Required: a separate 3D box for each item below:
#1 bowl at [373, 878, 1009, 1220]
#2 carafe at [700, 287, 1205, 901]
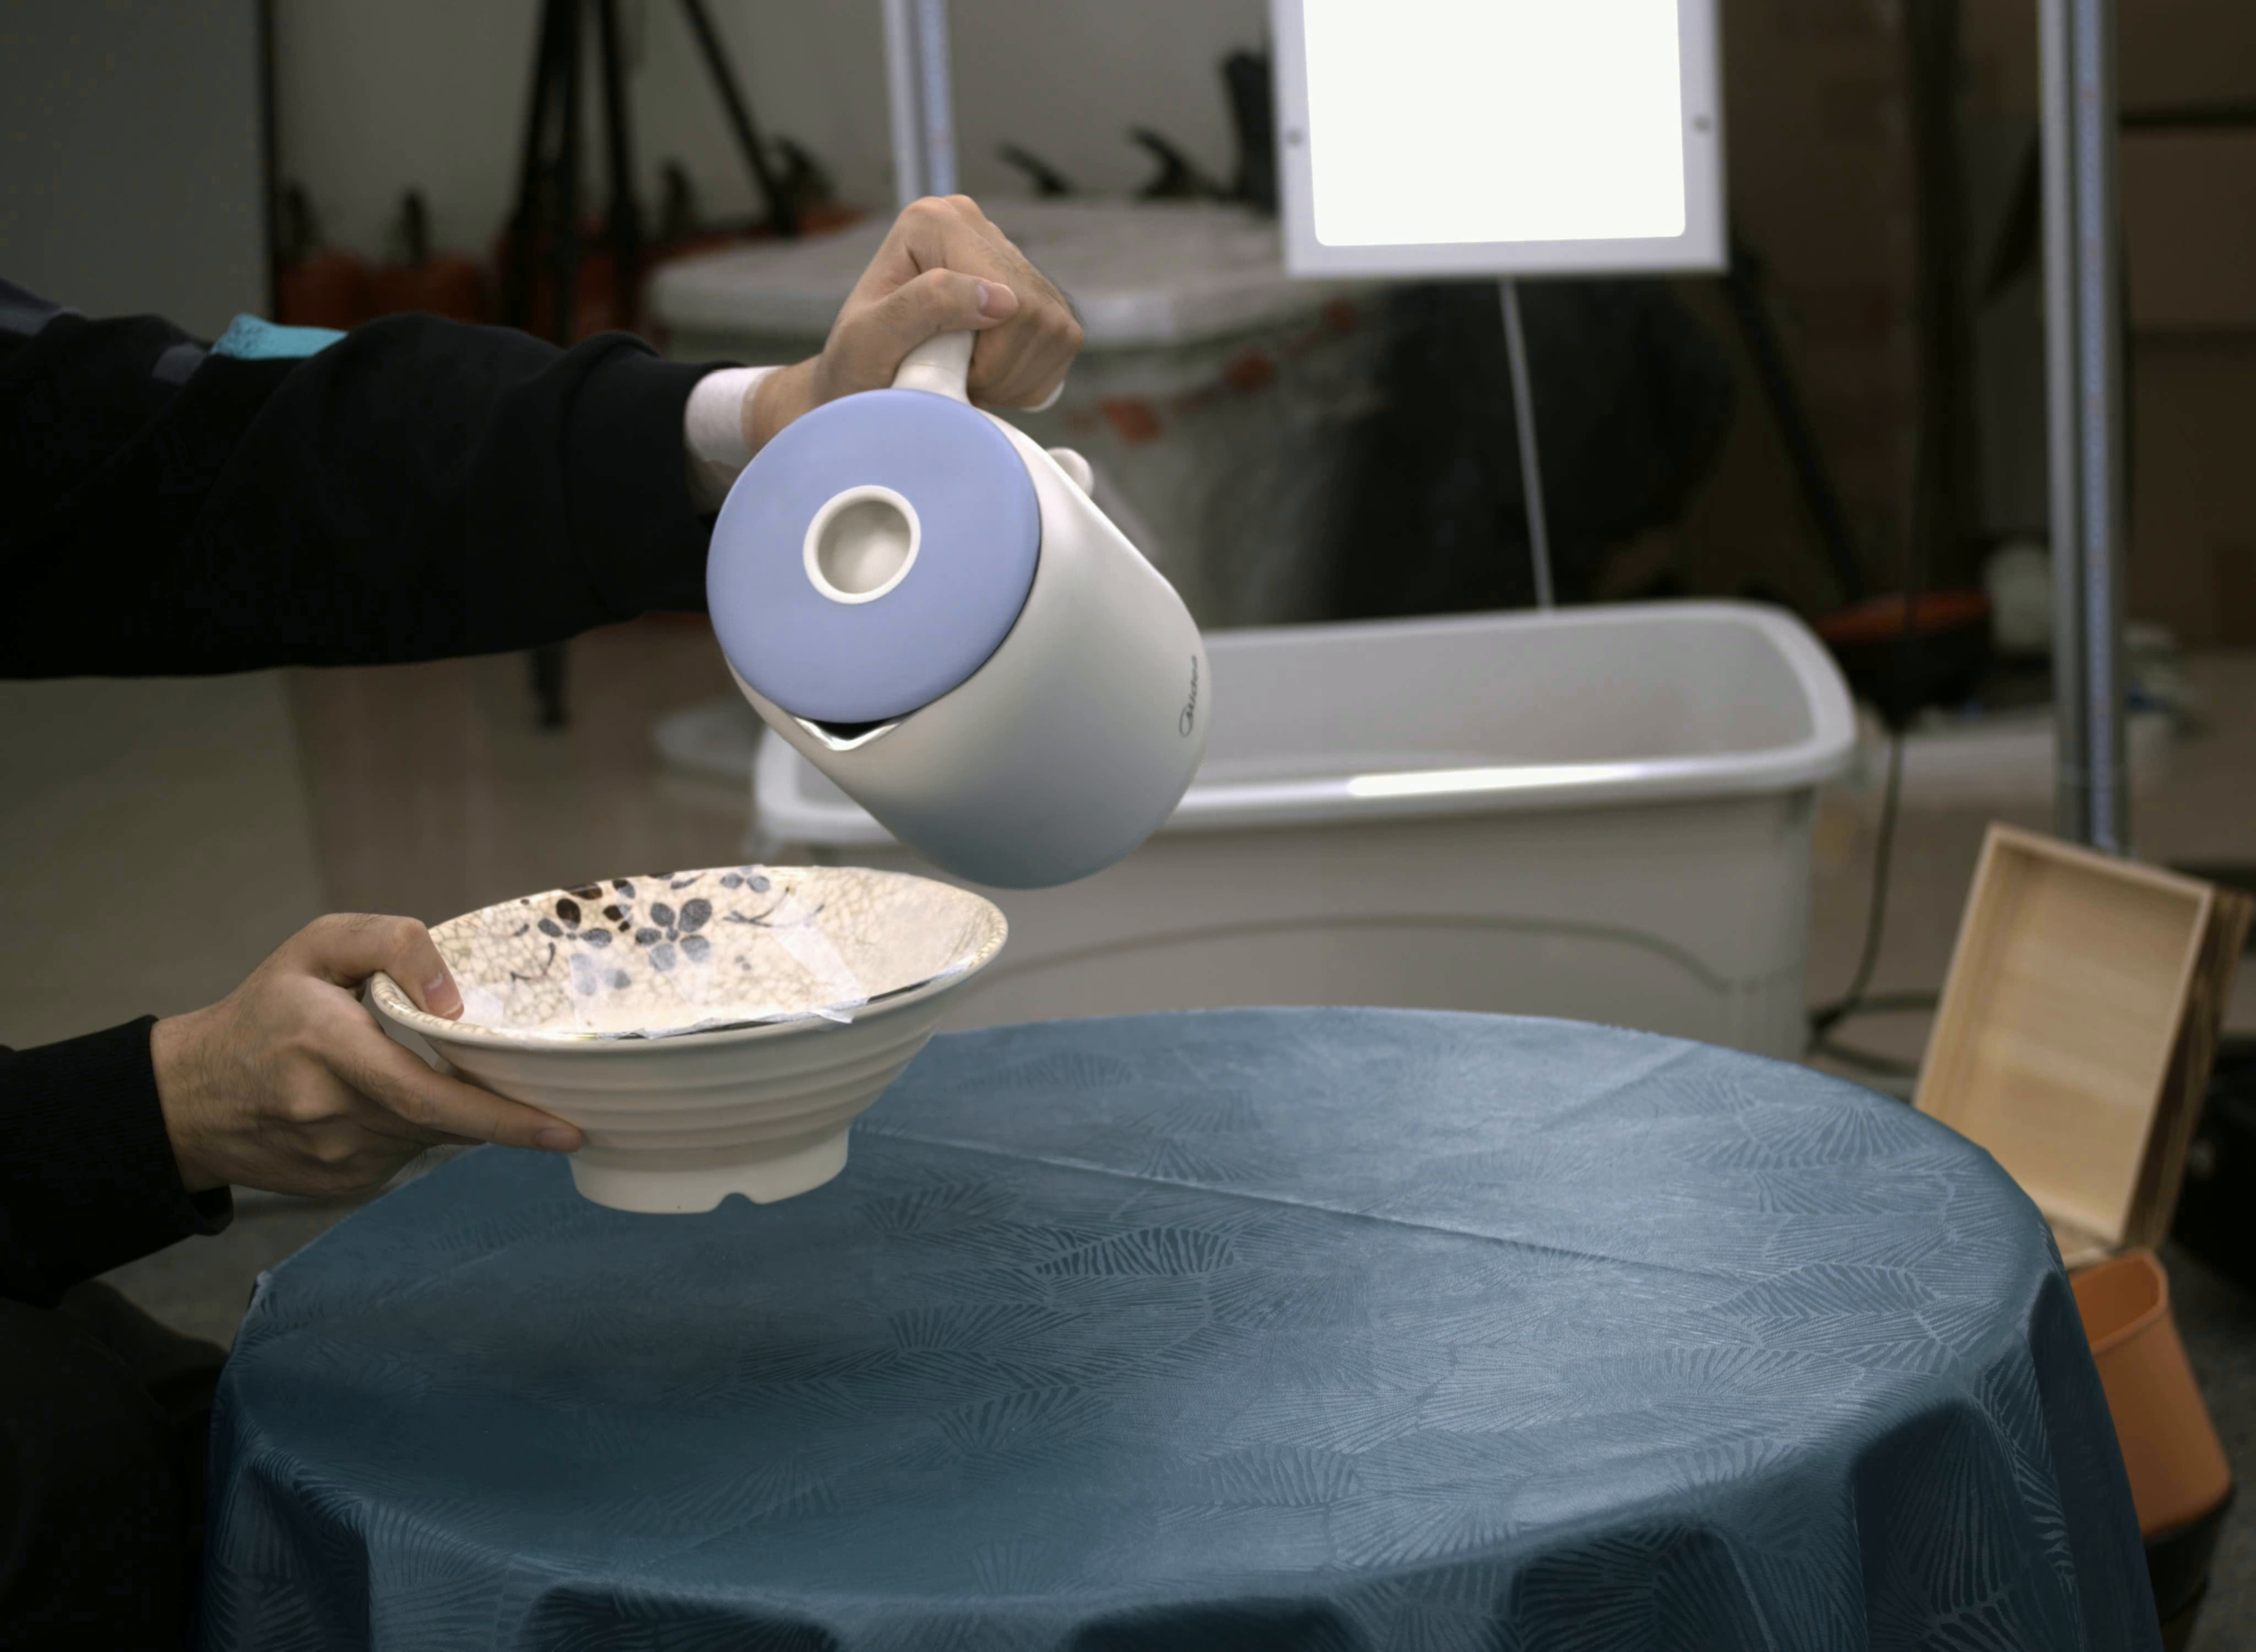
[{"bbox_3d":[-0.135,0.076,1.756,0.203,0.078,0.204,-7,12,0],"label":"bowl"},{"bbox_3d":[-0.056,-0.085,1.885,0.134,0.190,0.180,-1,-23,21],"label":"carafe"}]
